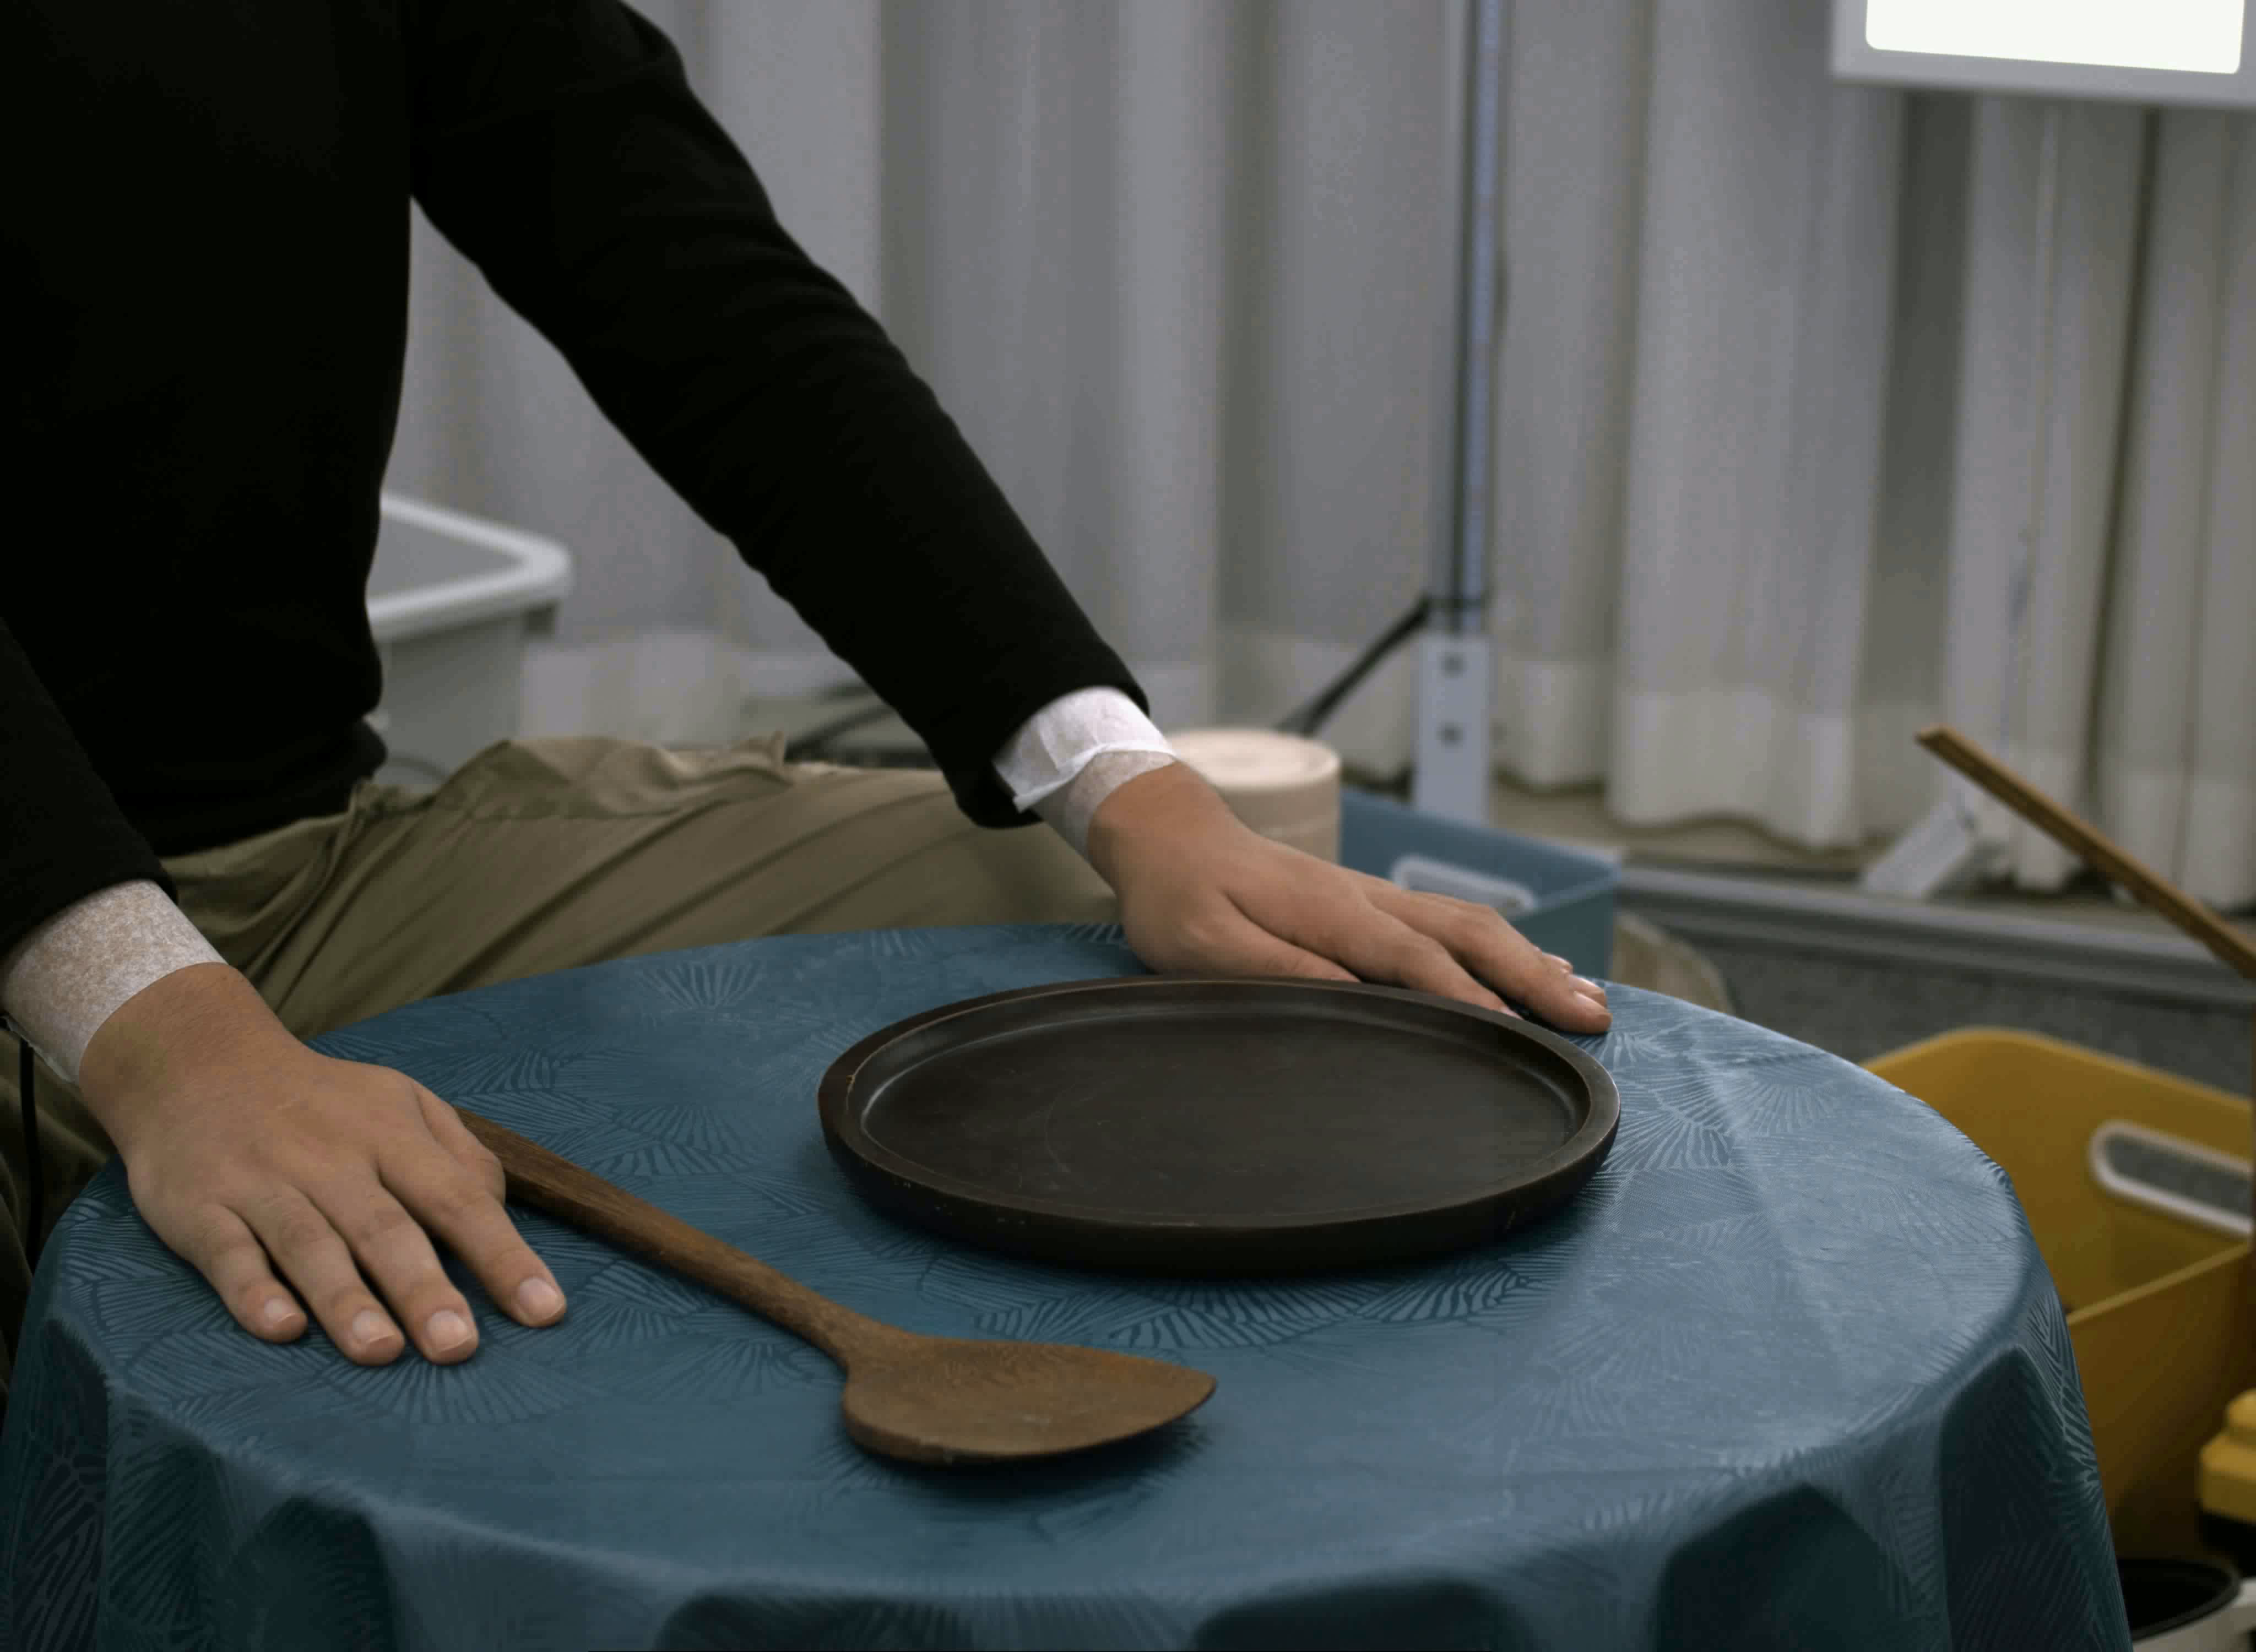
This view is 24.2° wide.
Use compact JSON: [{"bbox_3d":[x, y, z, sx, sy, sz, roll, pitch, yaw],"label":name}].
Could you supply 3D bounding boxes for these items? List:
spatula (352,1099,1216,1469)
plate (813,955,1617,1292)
[{"bbox_3d":[-0.122,0.127,1.536,0.096,0.016,0.381,-11,19,-38],"label":"spatula"},{"bbox_3d":[0.027,0.093,1.651,0.254,0.029,0.253,0,17,0],"label":"plate"}]
